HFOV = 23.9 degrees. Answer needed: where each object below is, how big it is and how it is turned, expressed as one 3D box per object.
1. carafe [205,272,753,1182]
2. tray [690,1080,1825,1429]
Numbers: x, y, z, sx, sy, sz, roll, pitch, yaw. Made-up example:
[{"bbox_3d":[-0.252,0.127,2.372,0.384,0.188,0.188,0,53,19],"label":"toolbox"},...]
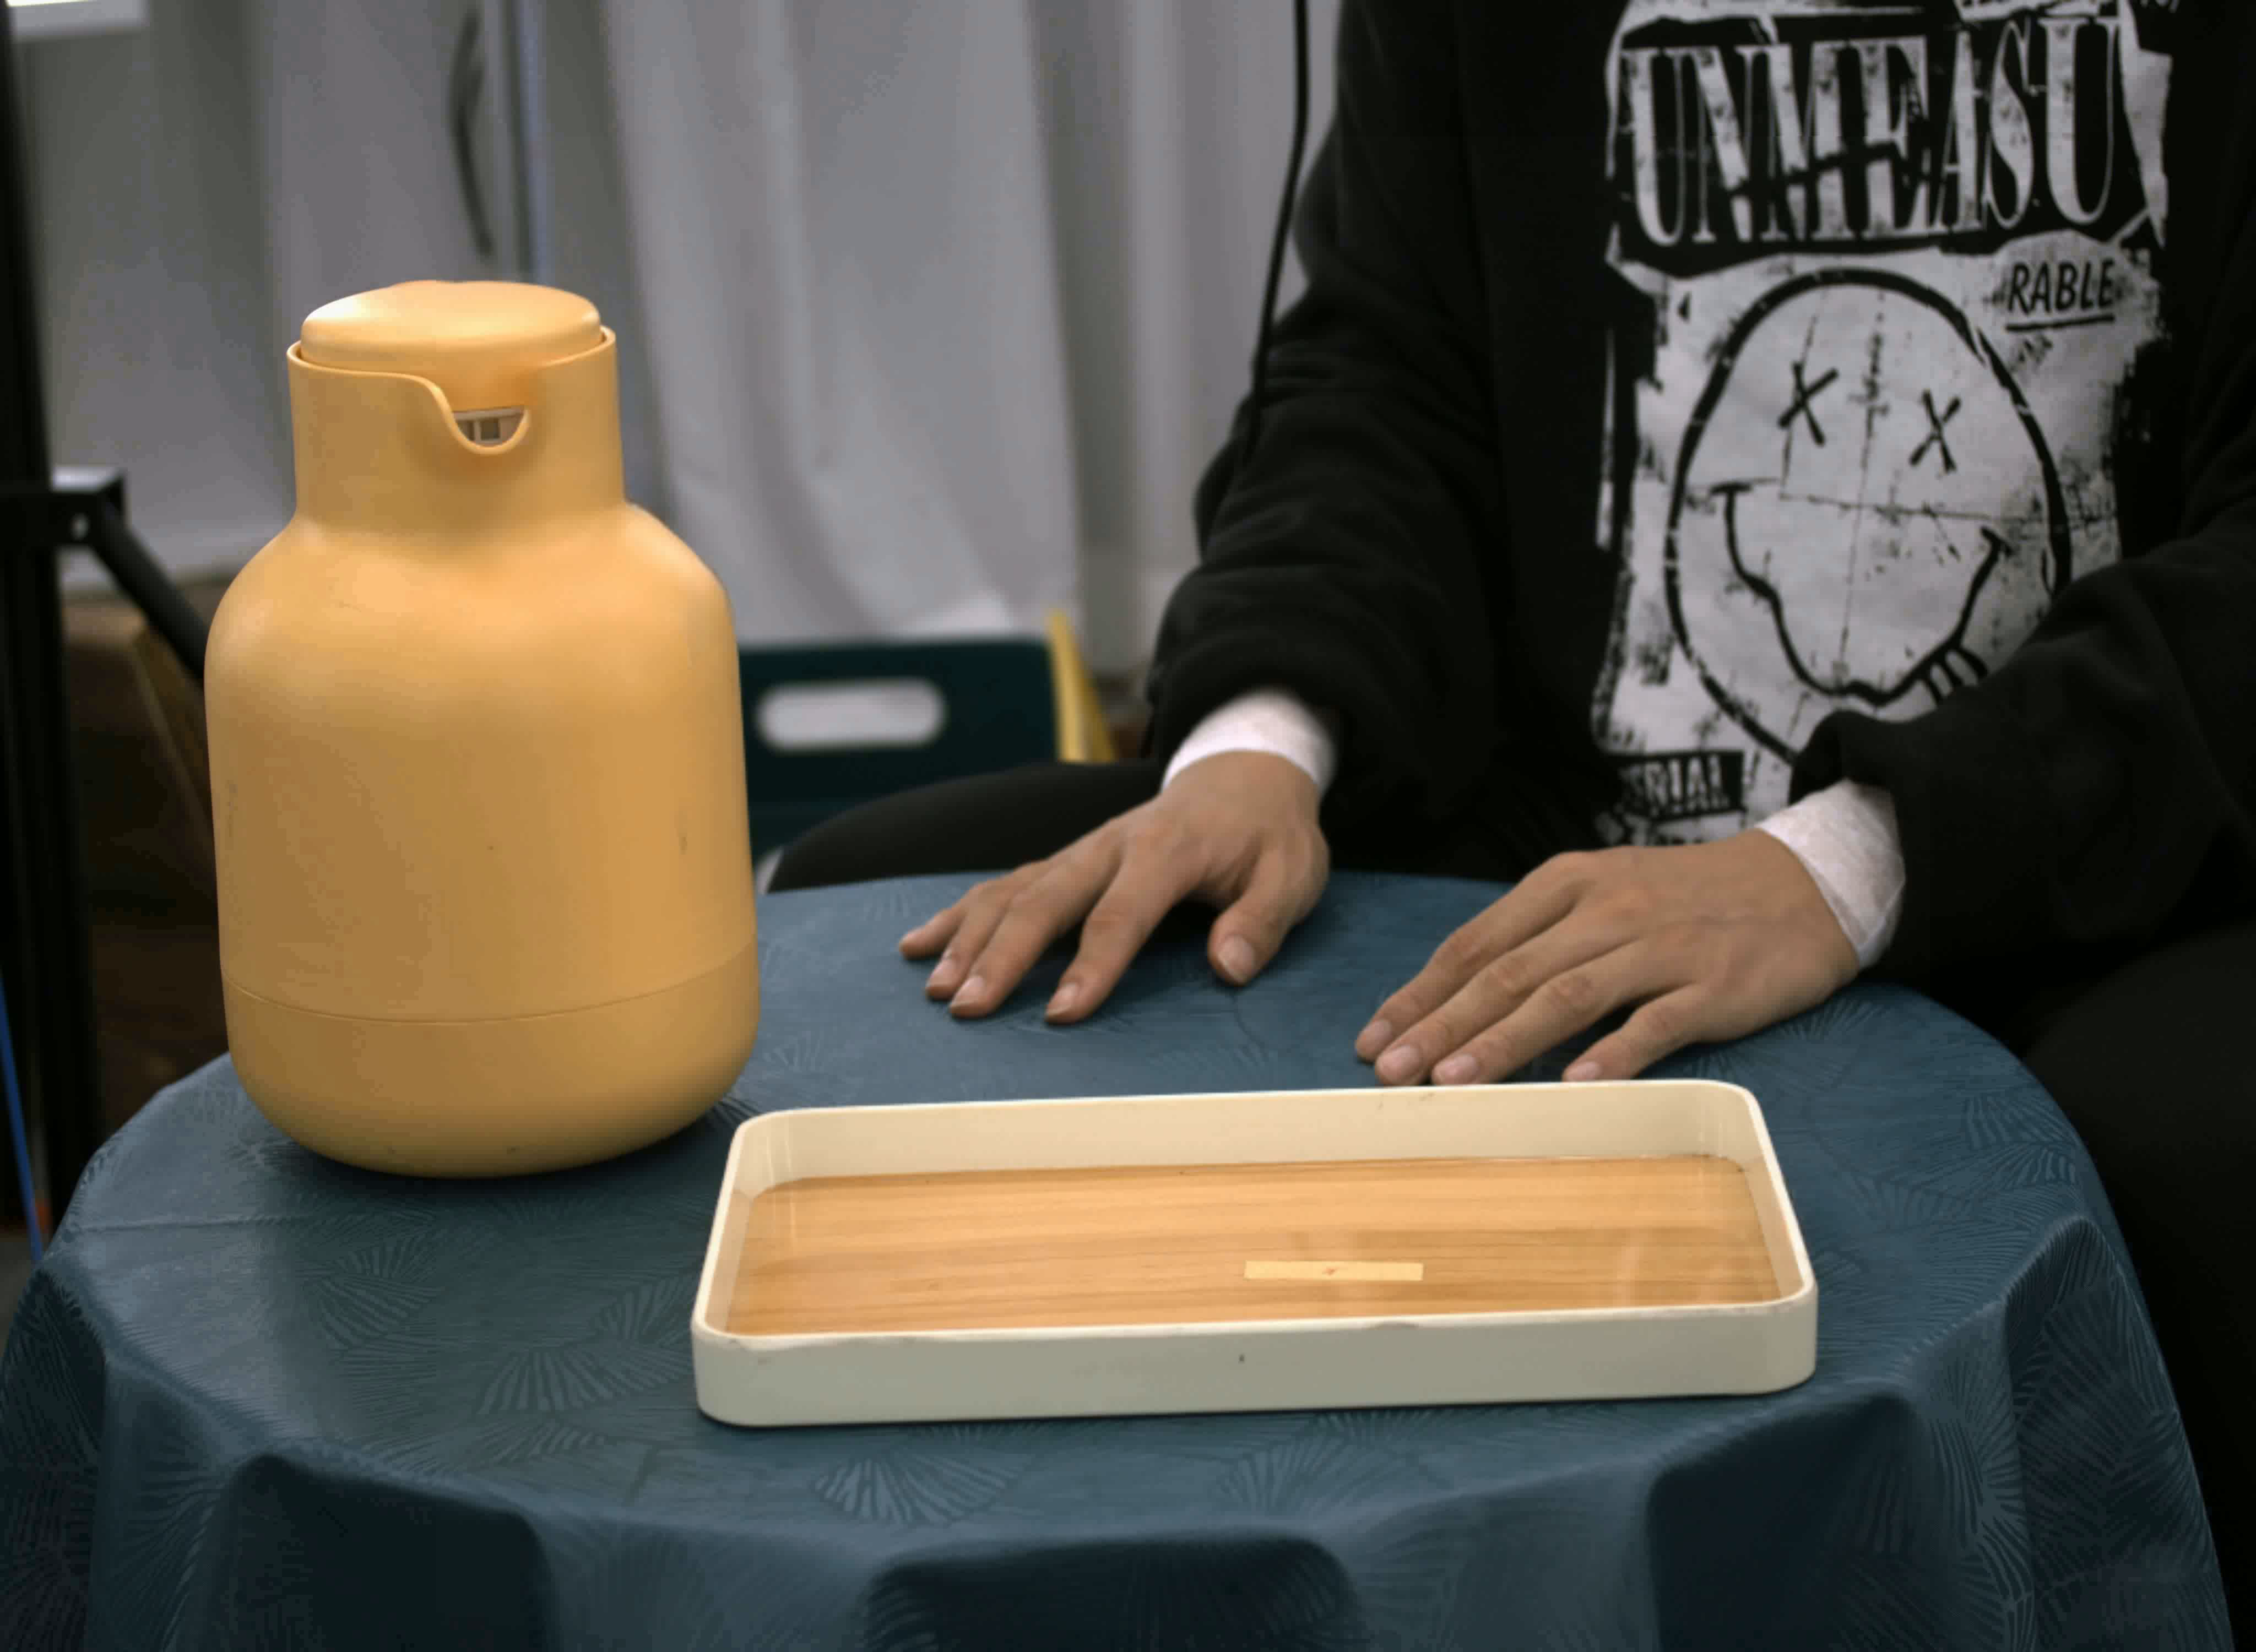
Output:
[{"bbox_3d":[-0.200,-0.038,1.632,0.161,0.260,0.205,-3,16,-11],"label":"carafe"},{"bbox_3d":[0.035,0.117,1.468,0.299,0.027,0.192,-2,16,3],"label":"tray"}]
